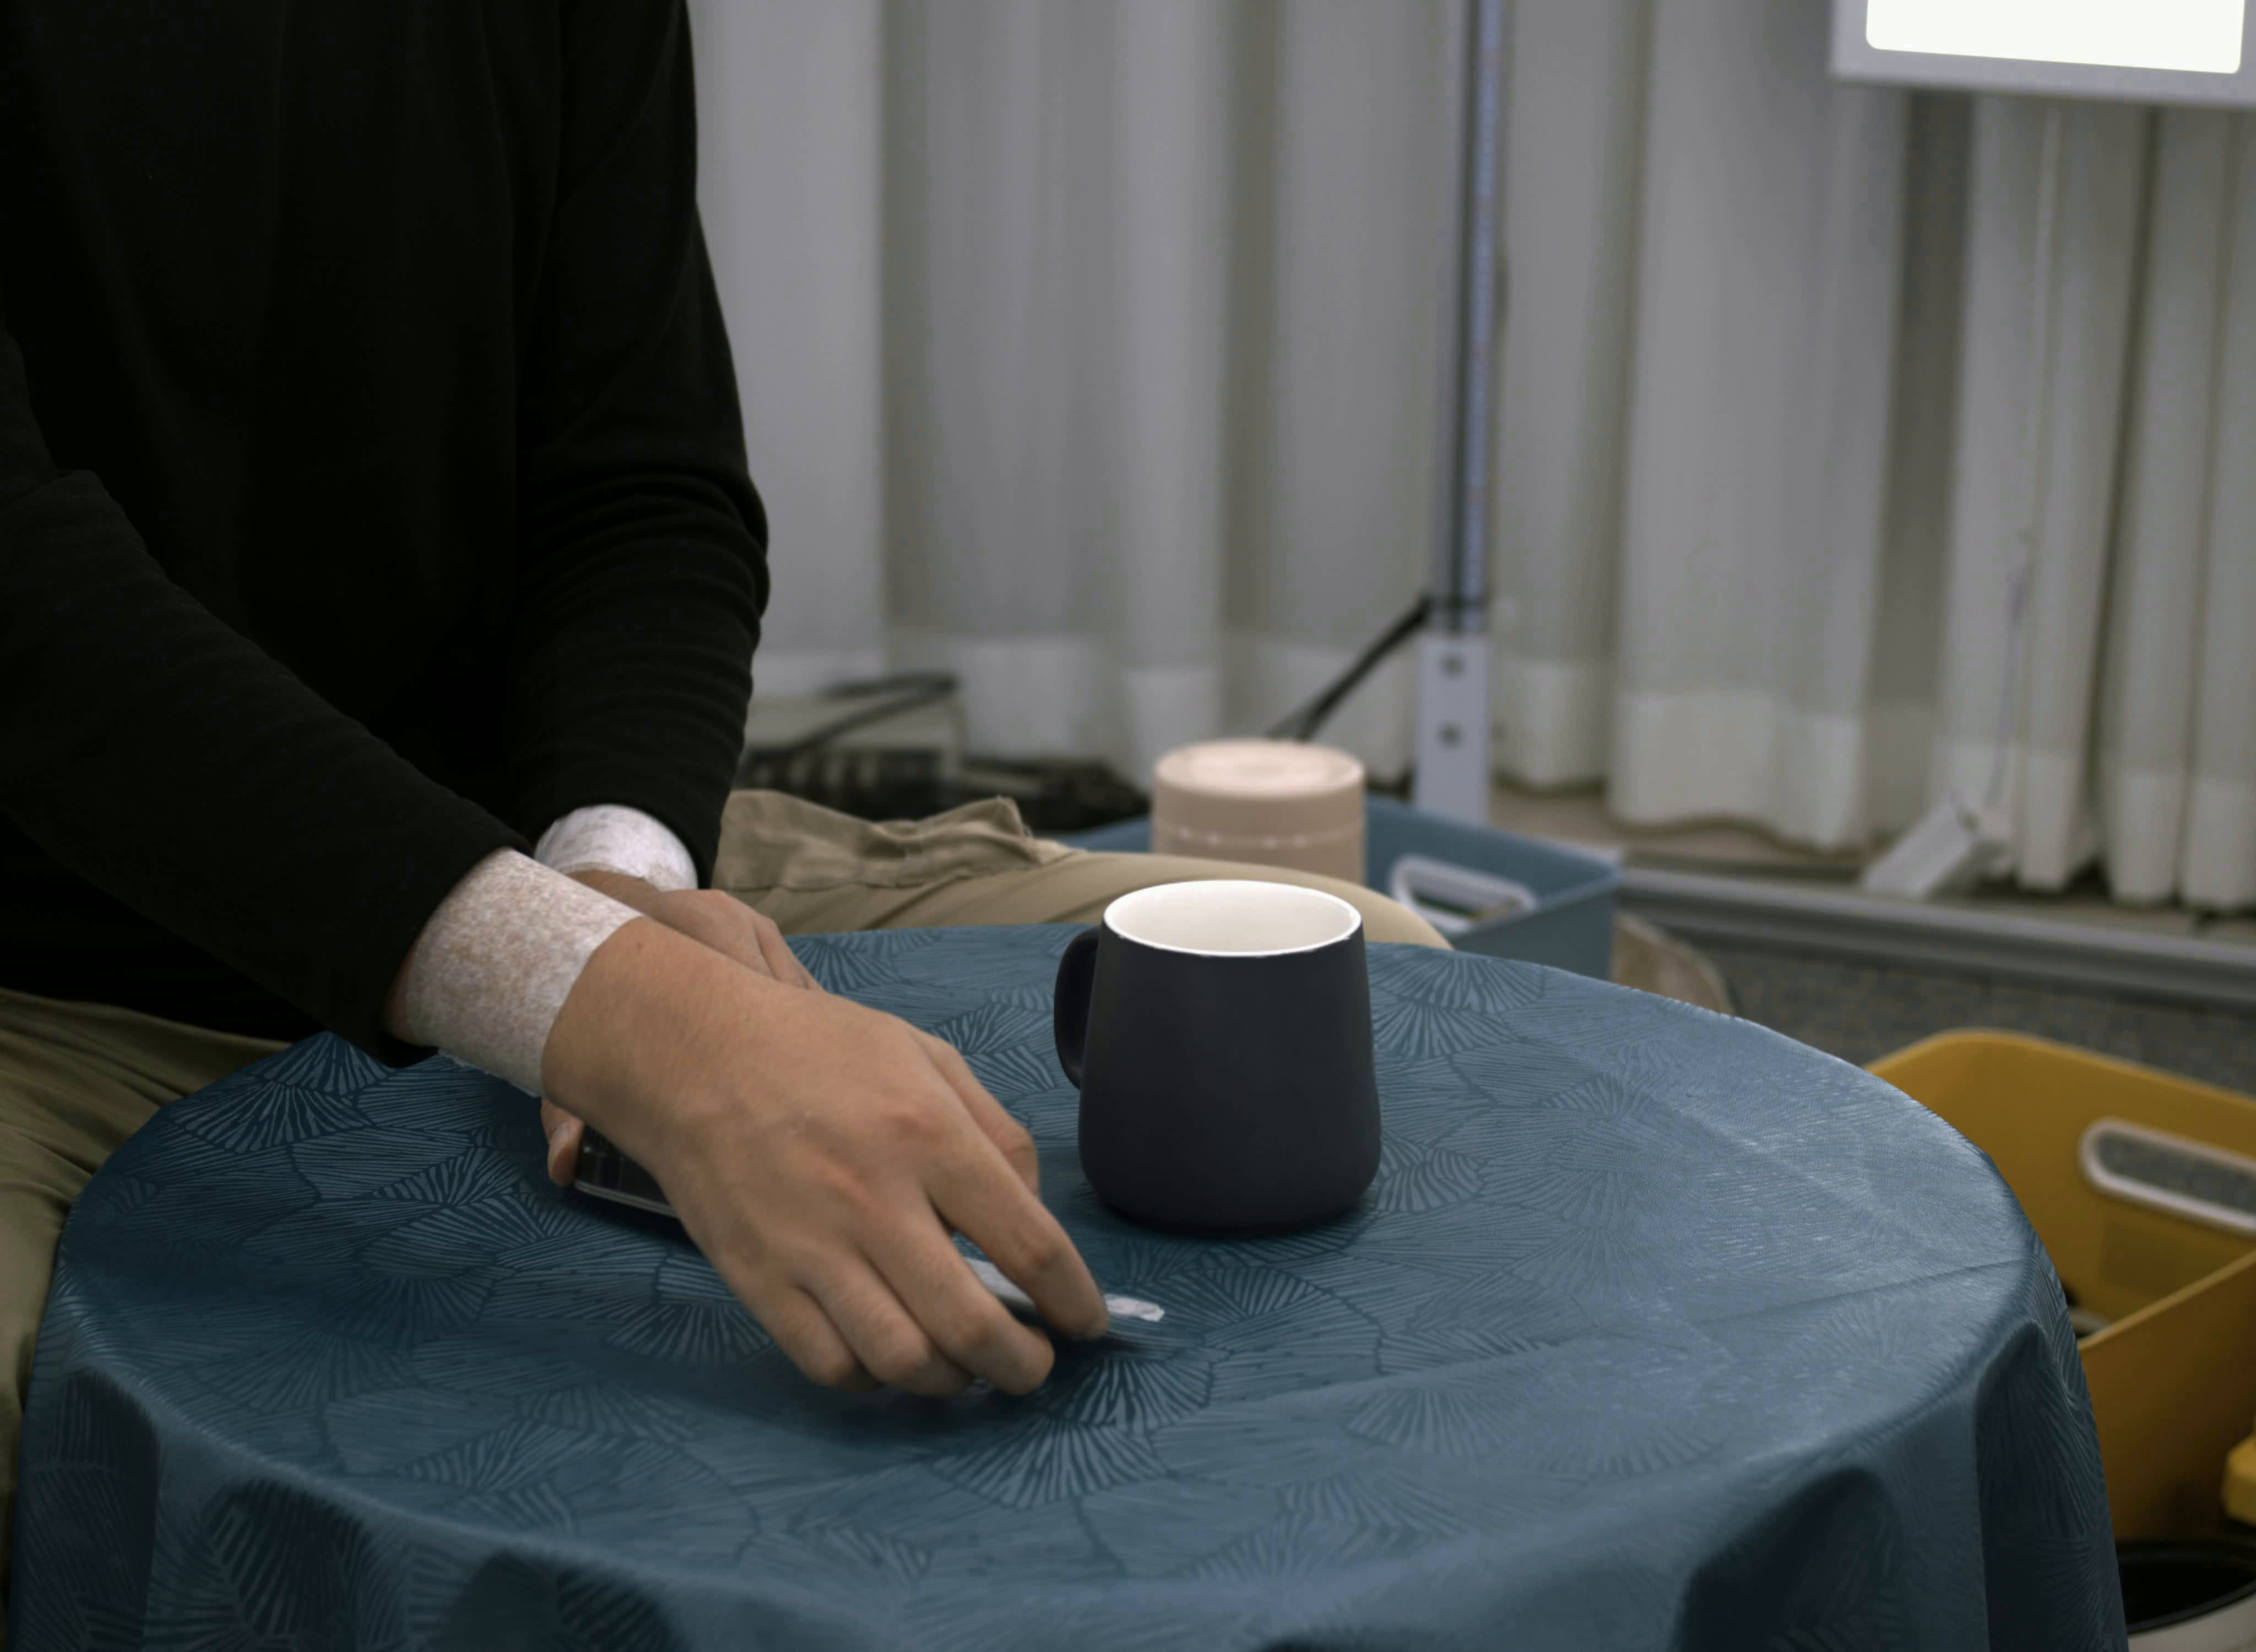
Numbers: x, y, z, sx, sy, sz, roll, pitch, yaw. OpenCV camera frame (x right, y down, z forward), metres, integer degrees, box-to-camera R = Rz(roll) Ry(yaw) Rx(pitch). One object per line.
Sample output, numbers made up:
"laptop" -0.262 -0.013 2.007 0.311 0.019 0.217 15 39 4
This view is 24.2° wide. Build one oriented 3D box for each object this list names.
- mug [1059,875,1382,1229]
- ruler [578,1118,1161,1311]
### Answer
"mug" 0.022 0.065 1.615 0.094 0.090 0.121 -12 21 -39
"ruler" -0.082 0.112 1.544 0.215 0.024 0.038 8 10 41
